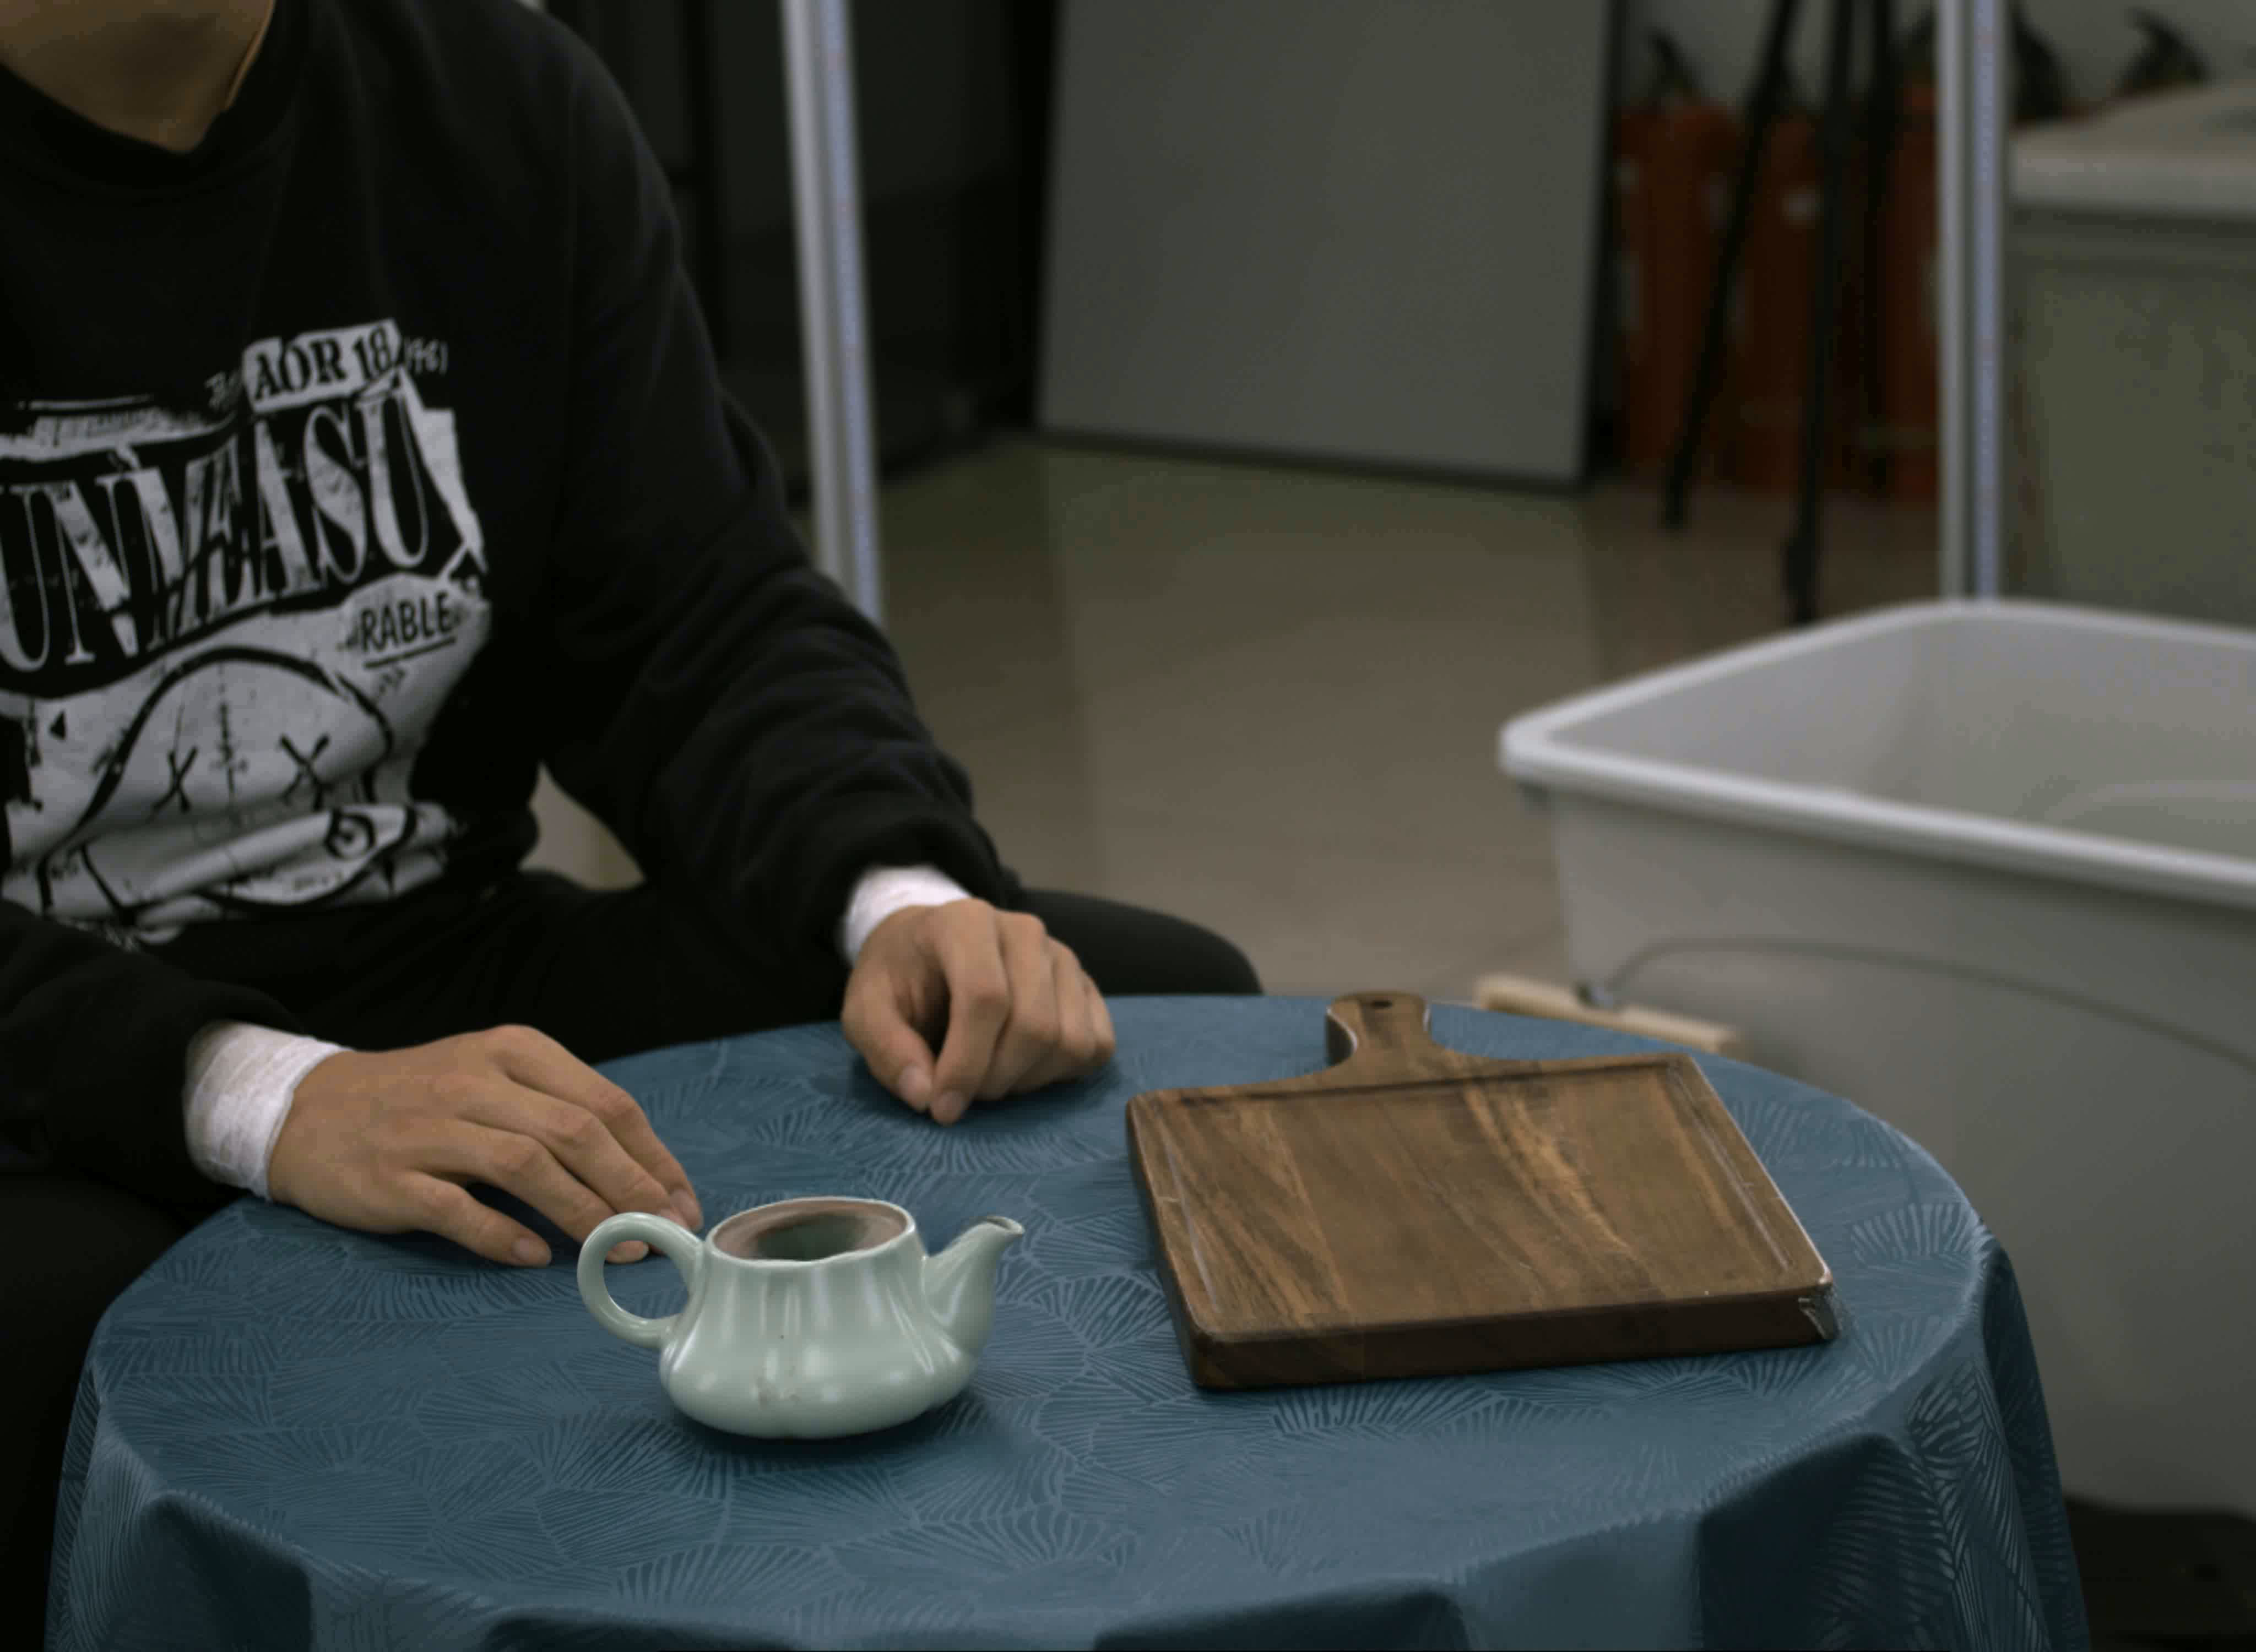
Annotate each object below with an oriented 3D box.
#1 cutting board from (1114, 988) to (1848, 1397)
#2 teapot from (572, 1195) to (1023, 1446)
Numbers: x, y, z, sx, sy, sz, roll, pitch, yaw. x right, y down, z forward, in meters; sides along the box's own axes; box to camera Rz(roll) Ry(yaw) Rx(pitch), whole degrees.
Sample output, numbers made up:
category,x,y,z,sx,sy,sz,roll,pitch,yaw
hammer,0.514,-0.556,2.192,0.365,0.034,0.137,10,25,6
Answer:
category,x,y,z,sx,sy,sz,roll,pitch,yaw
cutting board,0.100,0.109,1.747,0.198,0.023,0.353,-5,14,-4
teapot,-0.096,0.144,1.585,0.136,0.062,0.096,-2,15,10
